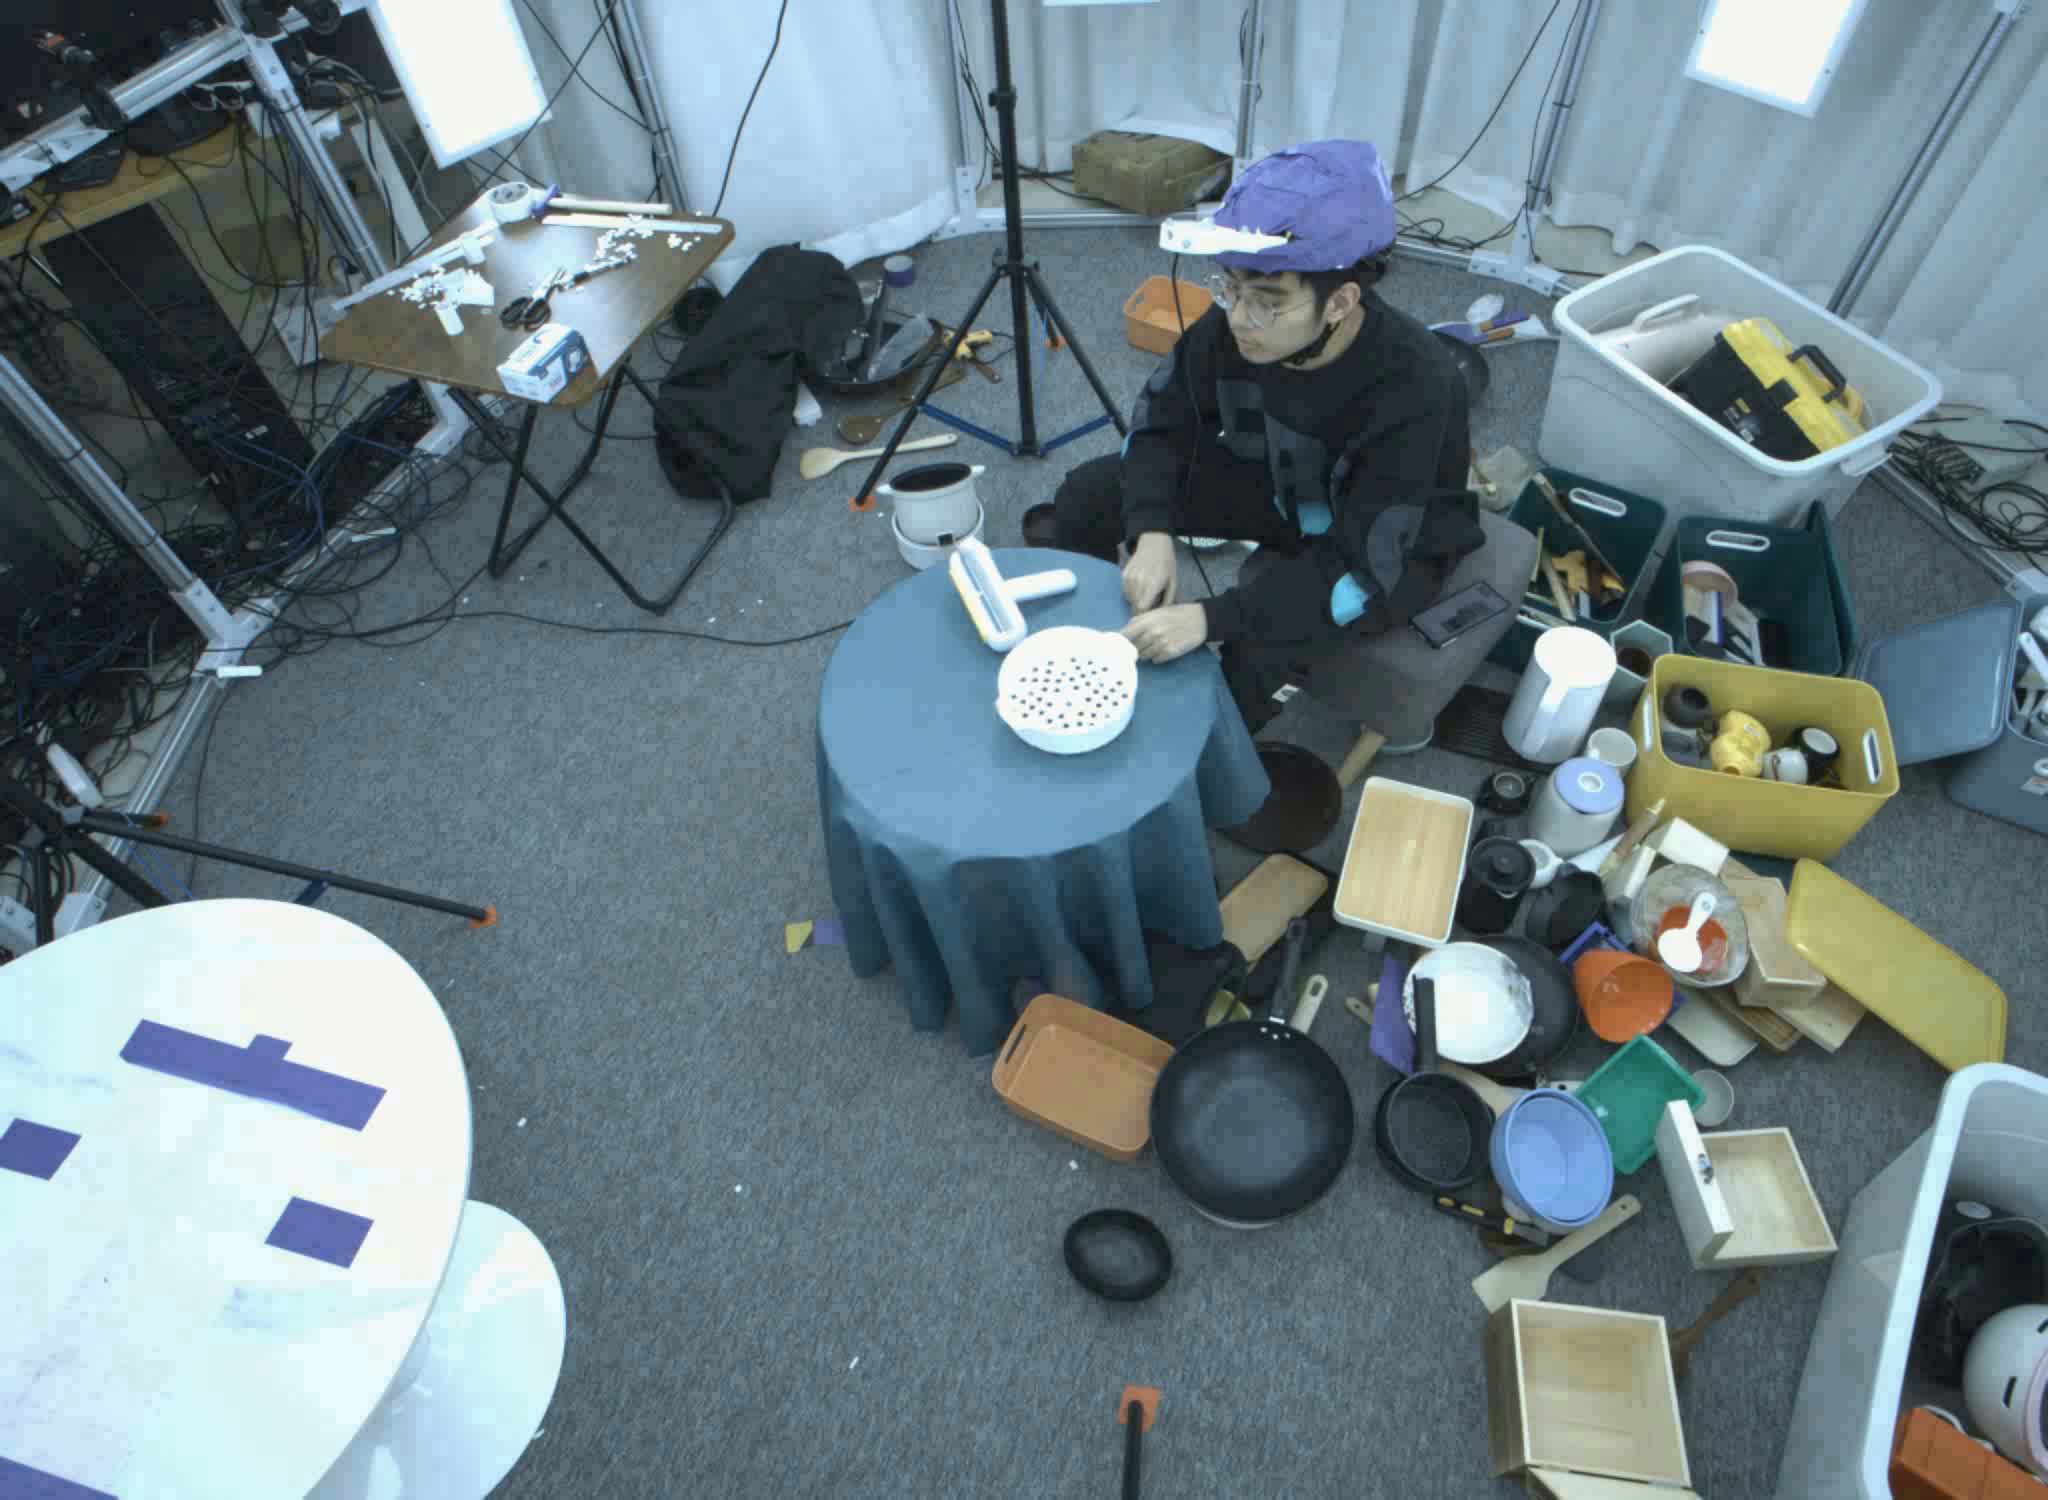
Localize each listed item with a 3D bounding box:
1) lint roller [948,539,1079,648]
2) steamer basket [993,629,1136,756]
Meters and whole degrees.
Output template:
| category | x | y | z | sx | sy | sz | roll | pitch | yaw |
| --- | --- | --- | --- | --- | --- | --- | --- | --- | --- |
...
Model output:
| category | x | y | z | sx | sy | sz | roll | pitch | yaw |
| --- | --- | --- | --- | --- | --- | --- | --- | --- | --- |
| lint roller | -0.005 | -0.256 | 1.923 | 0.194 | 0.075 | 0.190 | -18 | 61 | -12 |
| steamer basket | 0.060 | -0.082 | 1.801 | 0.232 | 0.070 | 0.198 | -31 | 61 | -21 |
